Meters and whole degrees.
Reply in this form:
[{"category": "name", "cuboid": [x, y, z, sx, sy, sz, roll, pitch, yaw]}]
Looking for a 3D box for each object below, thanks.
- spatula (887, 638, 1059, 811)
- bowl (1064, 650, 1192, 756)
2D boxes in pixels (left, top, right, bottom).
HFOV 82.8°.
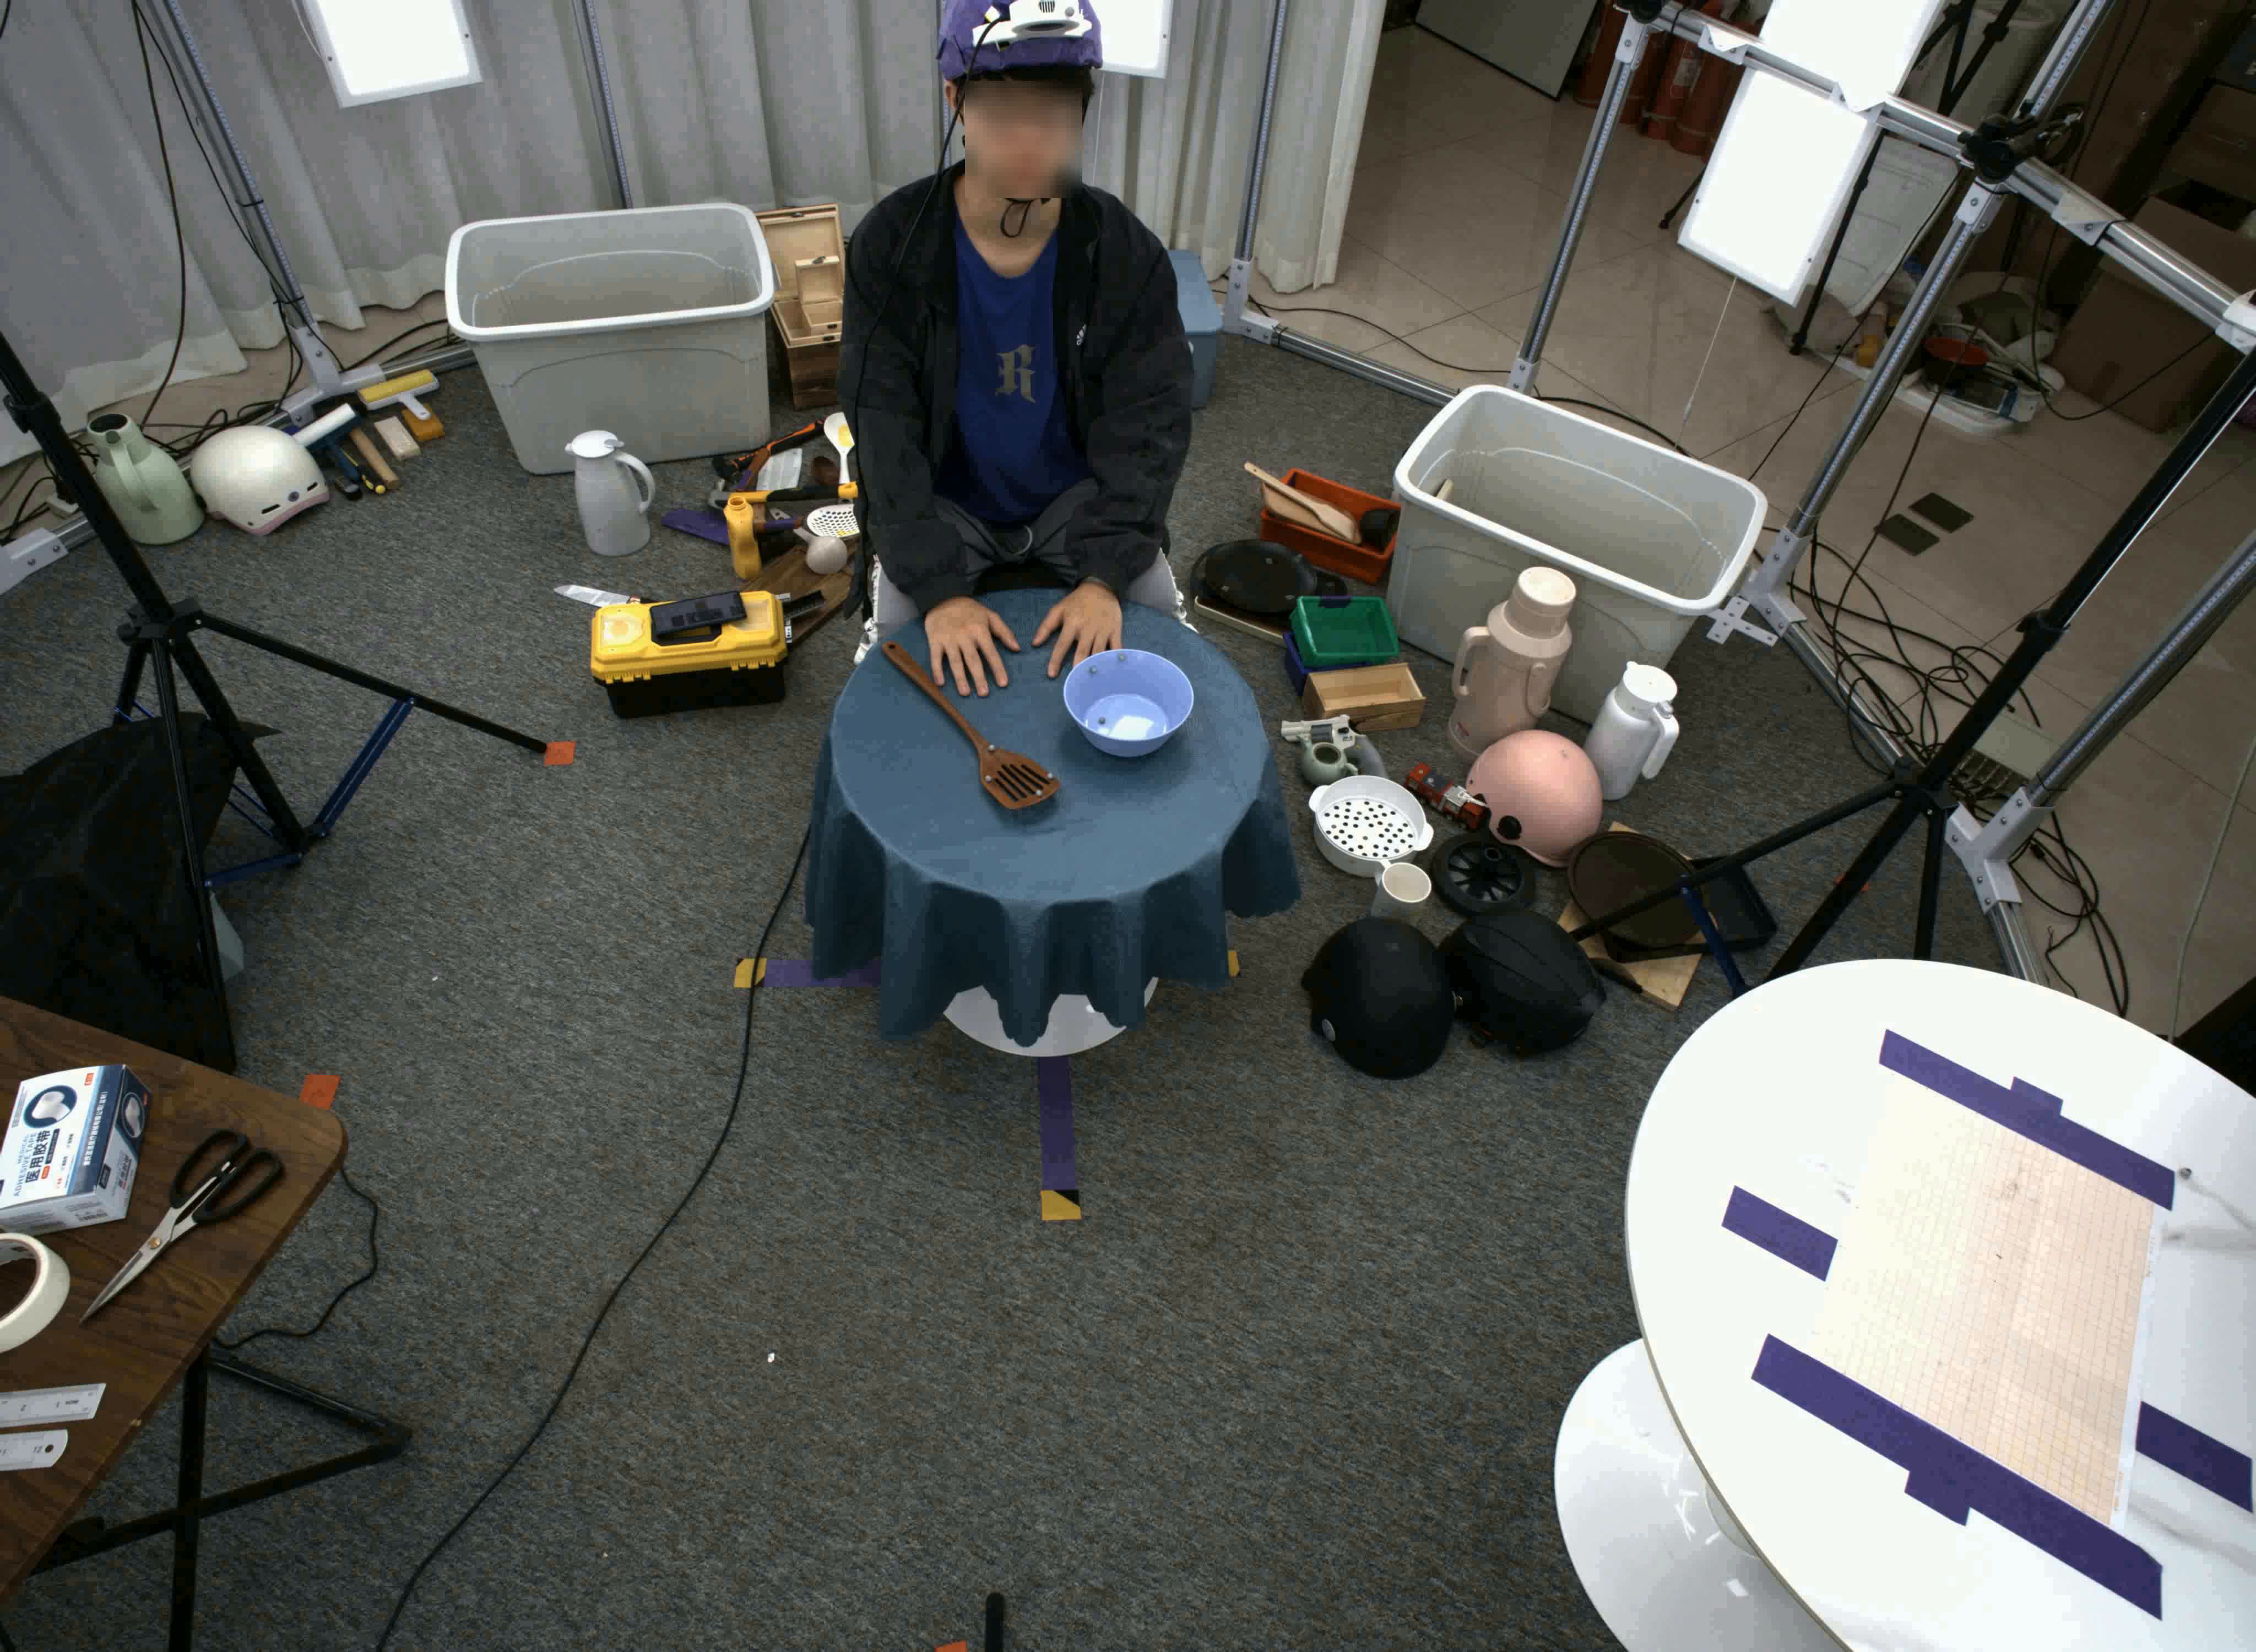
[{"category": "spatula", "cuboid": [-0.230, -0.147, 1.772, 0.086, 0.023, 0.394, -27, 55, -25]}, {"category": "bowl", "cuboid": [-0.001, -0.159, 1.765, 0.176, 0.068, 0.180, 2, 49, -2]}]
